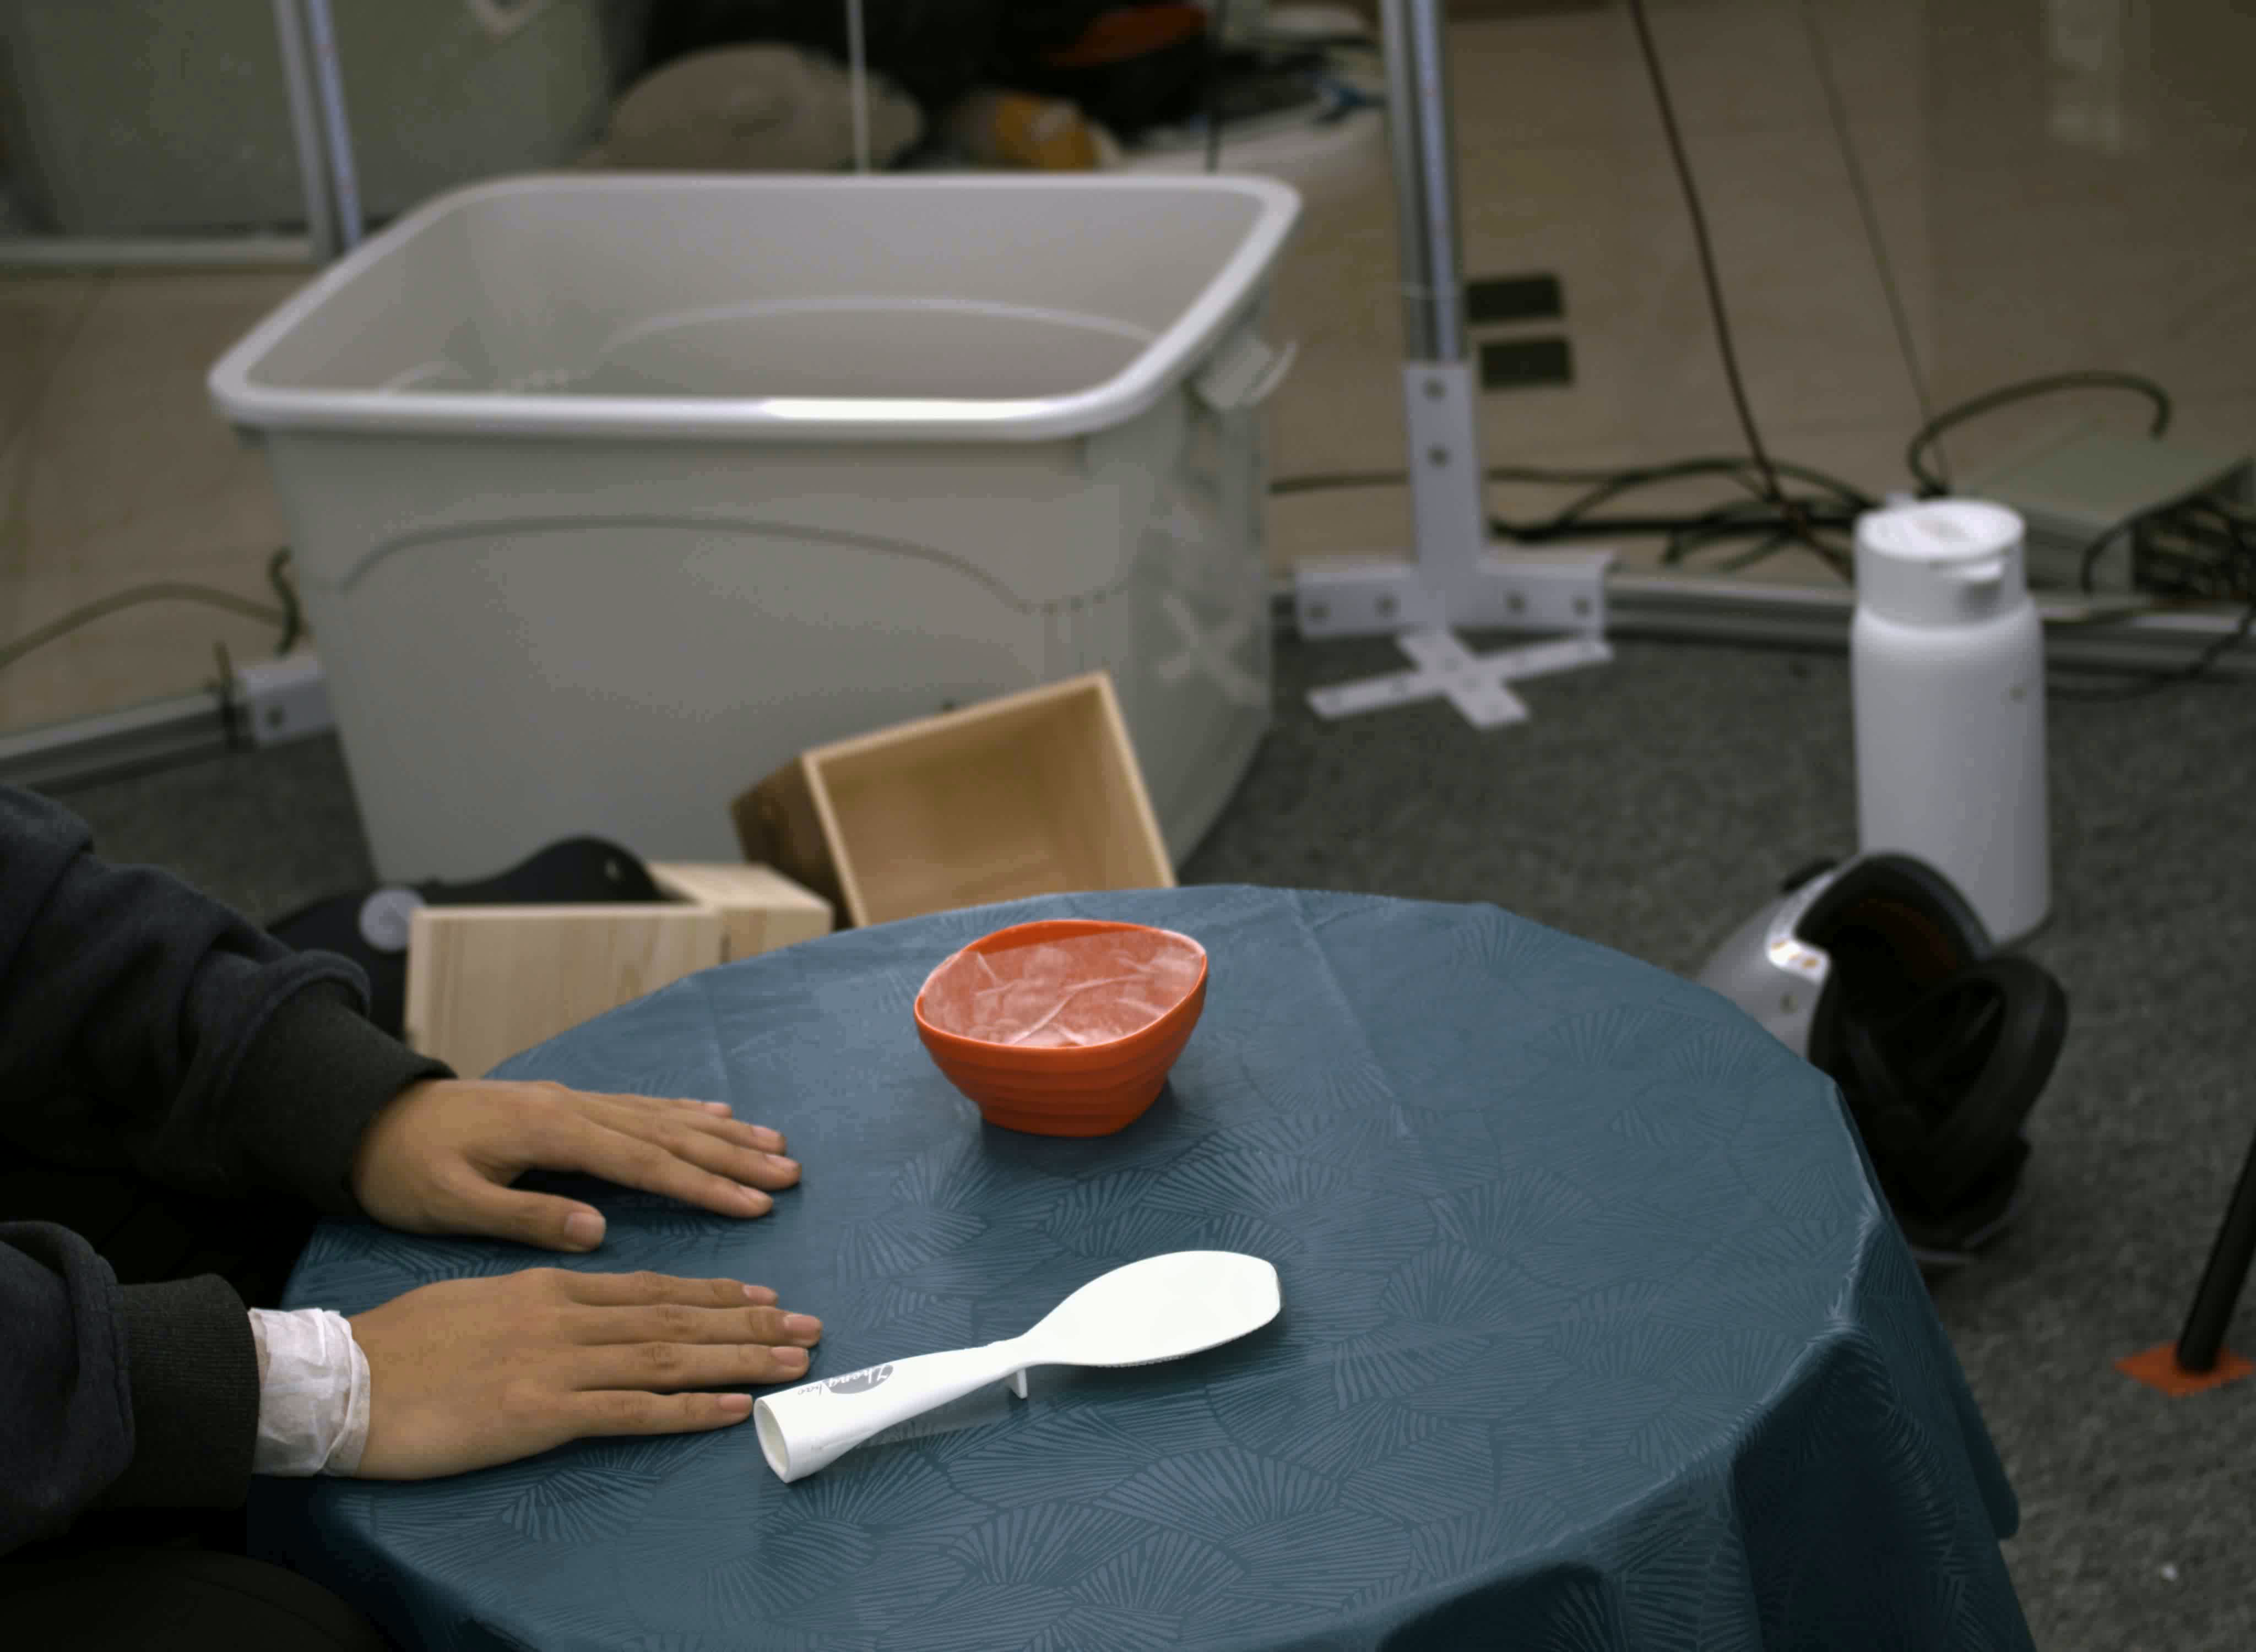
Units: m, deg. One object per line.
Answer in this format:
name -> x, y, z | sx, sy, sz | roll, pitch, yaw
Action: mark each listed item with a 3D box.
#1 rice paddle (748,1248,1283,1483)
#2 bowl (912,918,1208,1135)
rice paddle -> -0.037, 0.186, 2.018 | 0.204, 0.030, 0.068 | -17, 29, -22
bowl -> -0.024, 0.082, 2.211 | 0.119, 0.052, 0.117 | -5, 25, 2
